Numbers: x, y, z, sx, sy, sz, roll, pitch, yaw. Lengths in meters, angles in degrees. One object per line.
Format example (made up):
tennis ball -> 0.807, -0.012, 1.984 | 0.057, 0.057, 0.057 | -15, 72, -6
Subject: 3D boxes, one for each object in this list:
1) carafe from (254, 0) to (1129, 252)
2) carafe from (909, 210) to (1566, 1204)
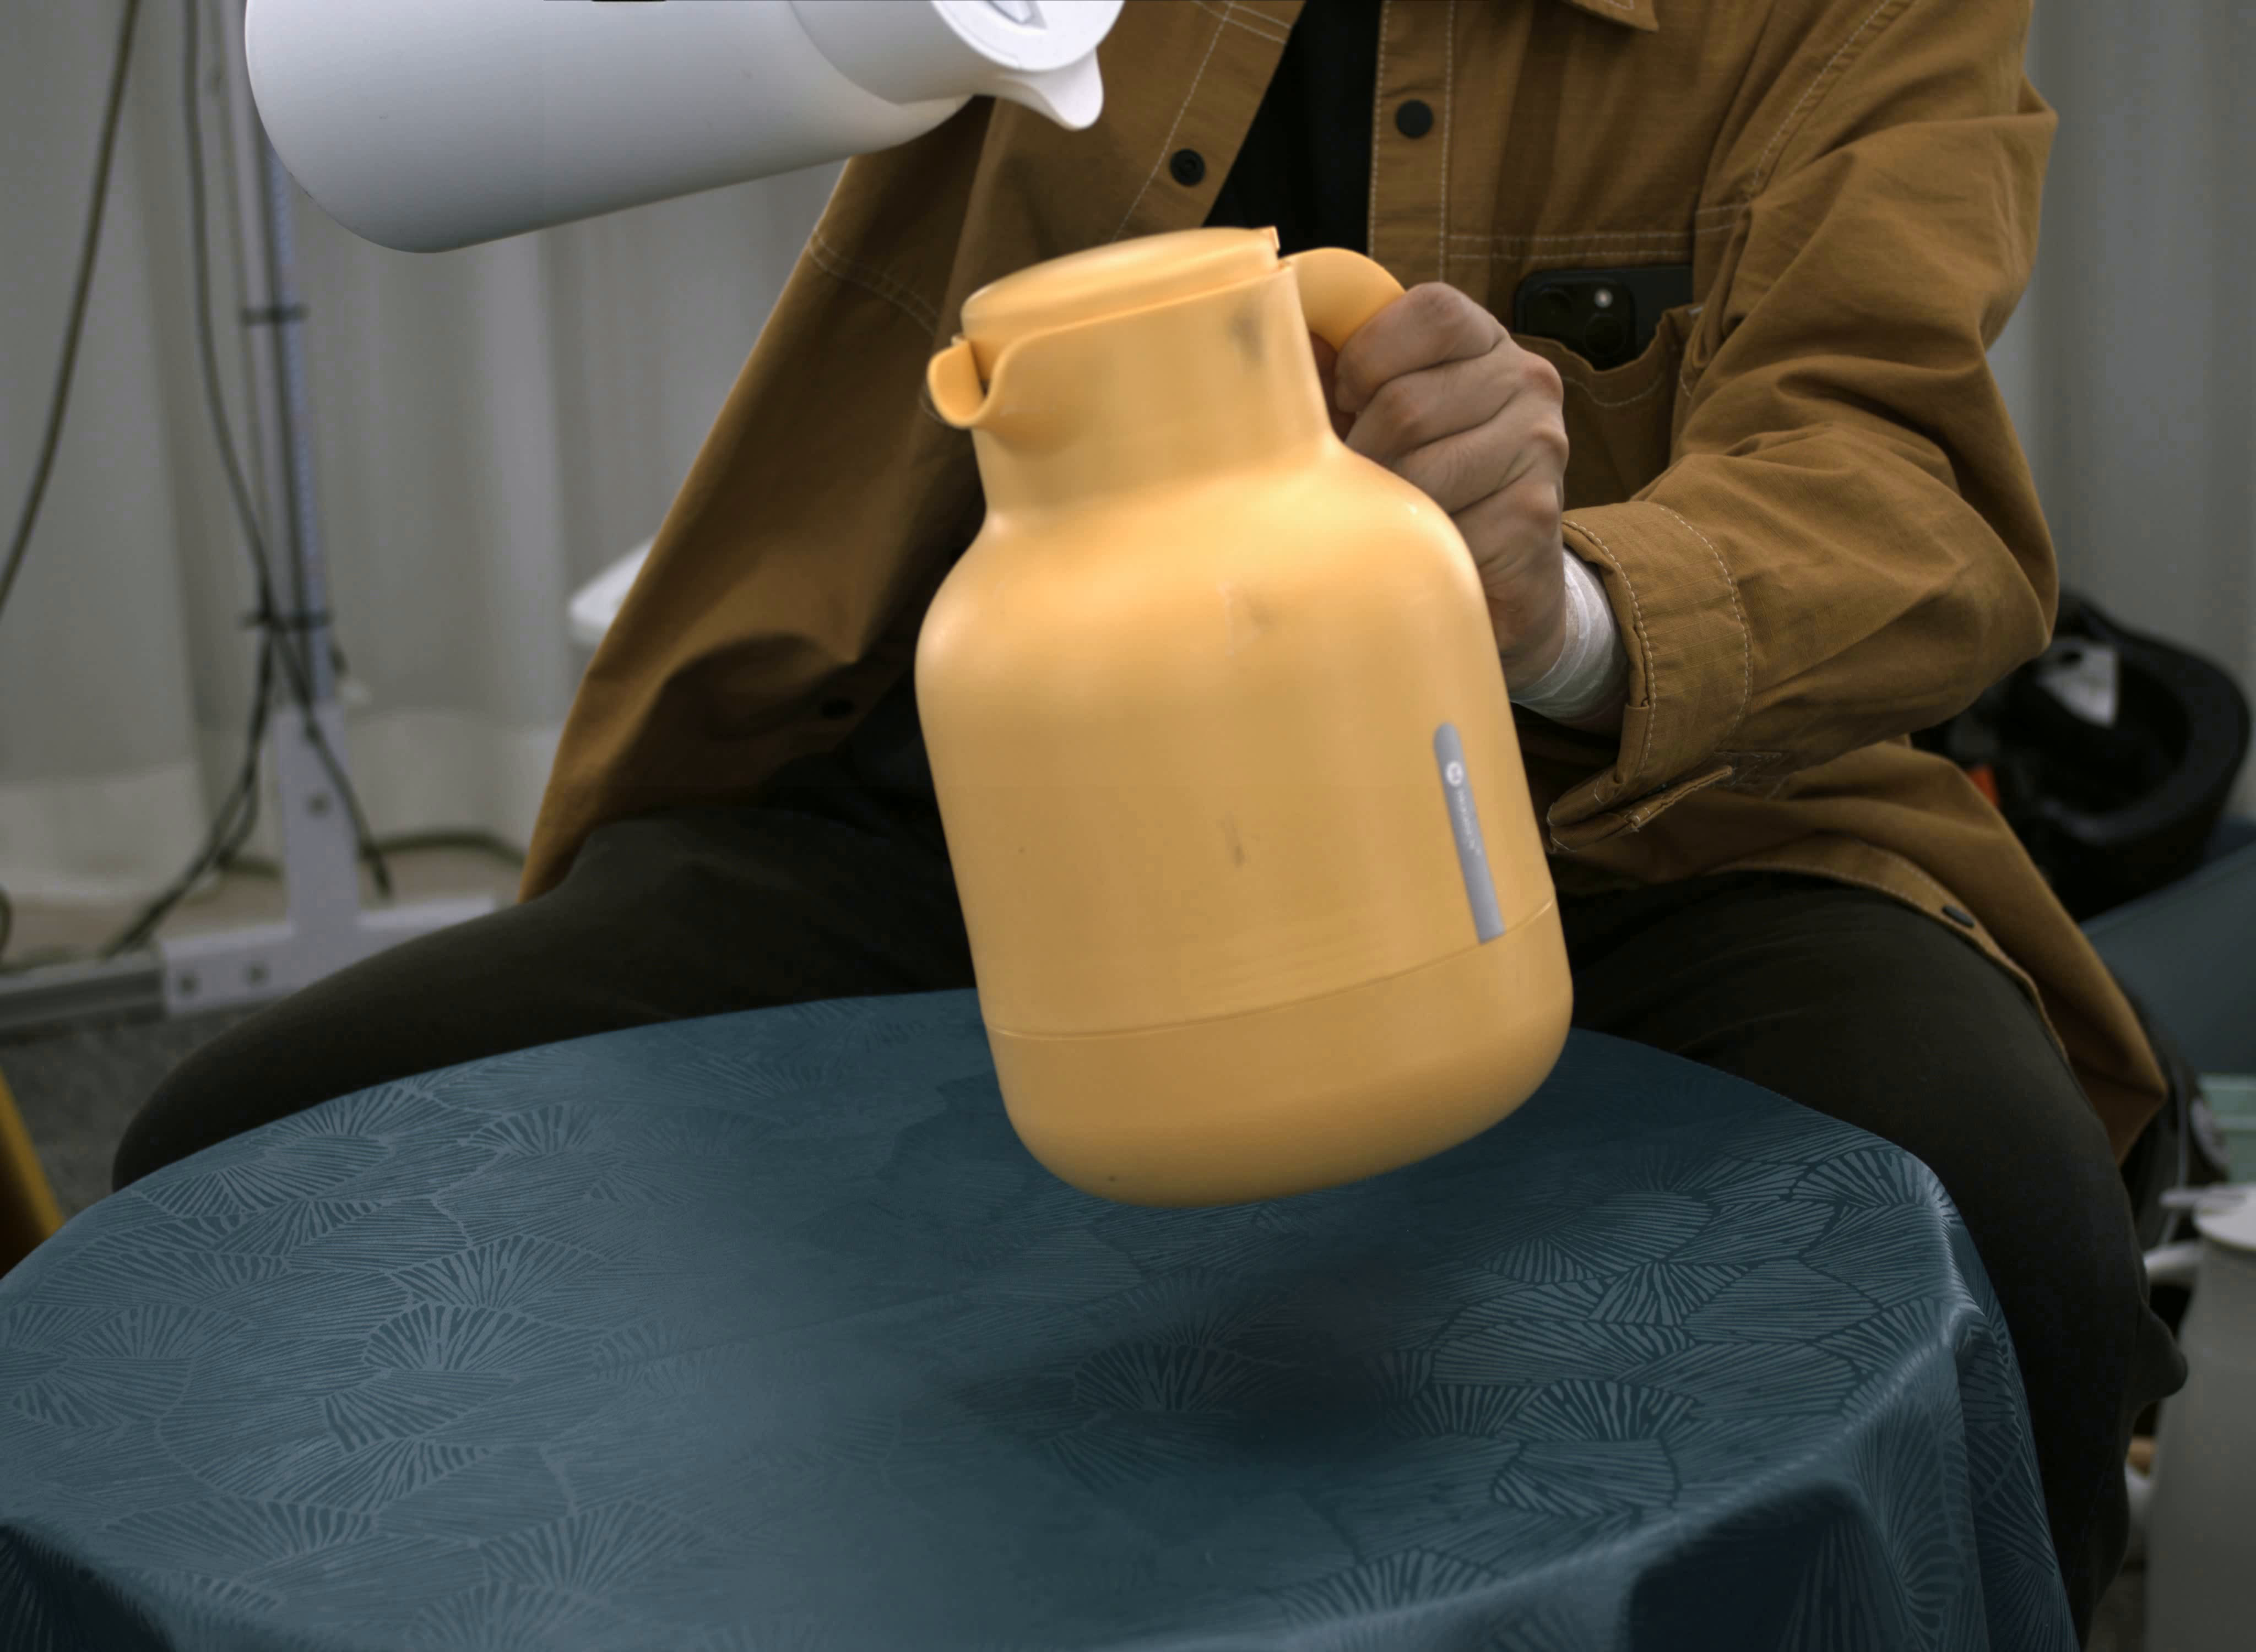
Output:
carafe -> -0.133, -0.256, 1.563 | 0.269, 0.171, 0.124 | -7, 27, 44
carafe -> 0.035, -0.041, 1.526 | 0.164, 0.260, 0.202 | -1, 15, 43
